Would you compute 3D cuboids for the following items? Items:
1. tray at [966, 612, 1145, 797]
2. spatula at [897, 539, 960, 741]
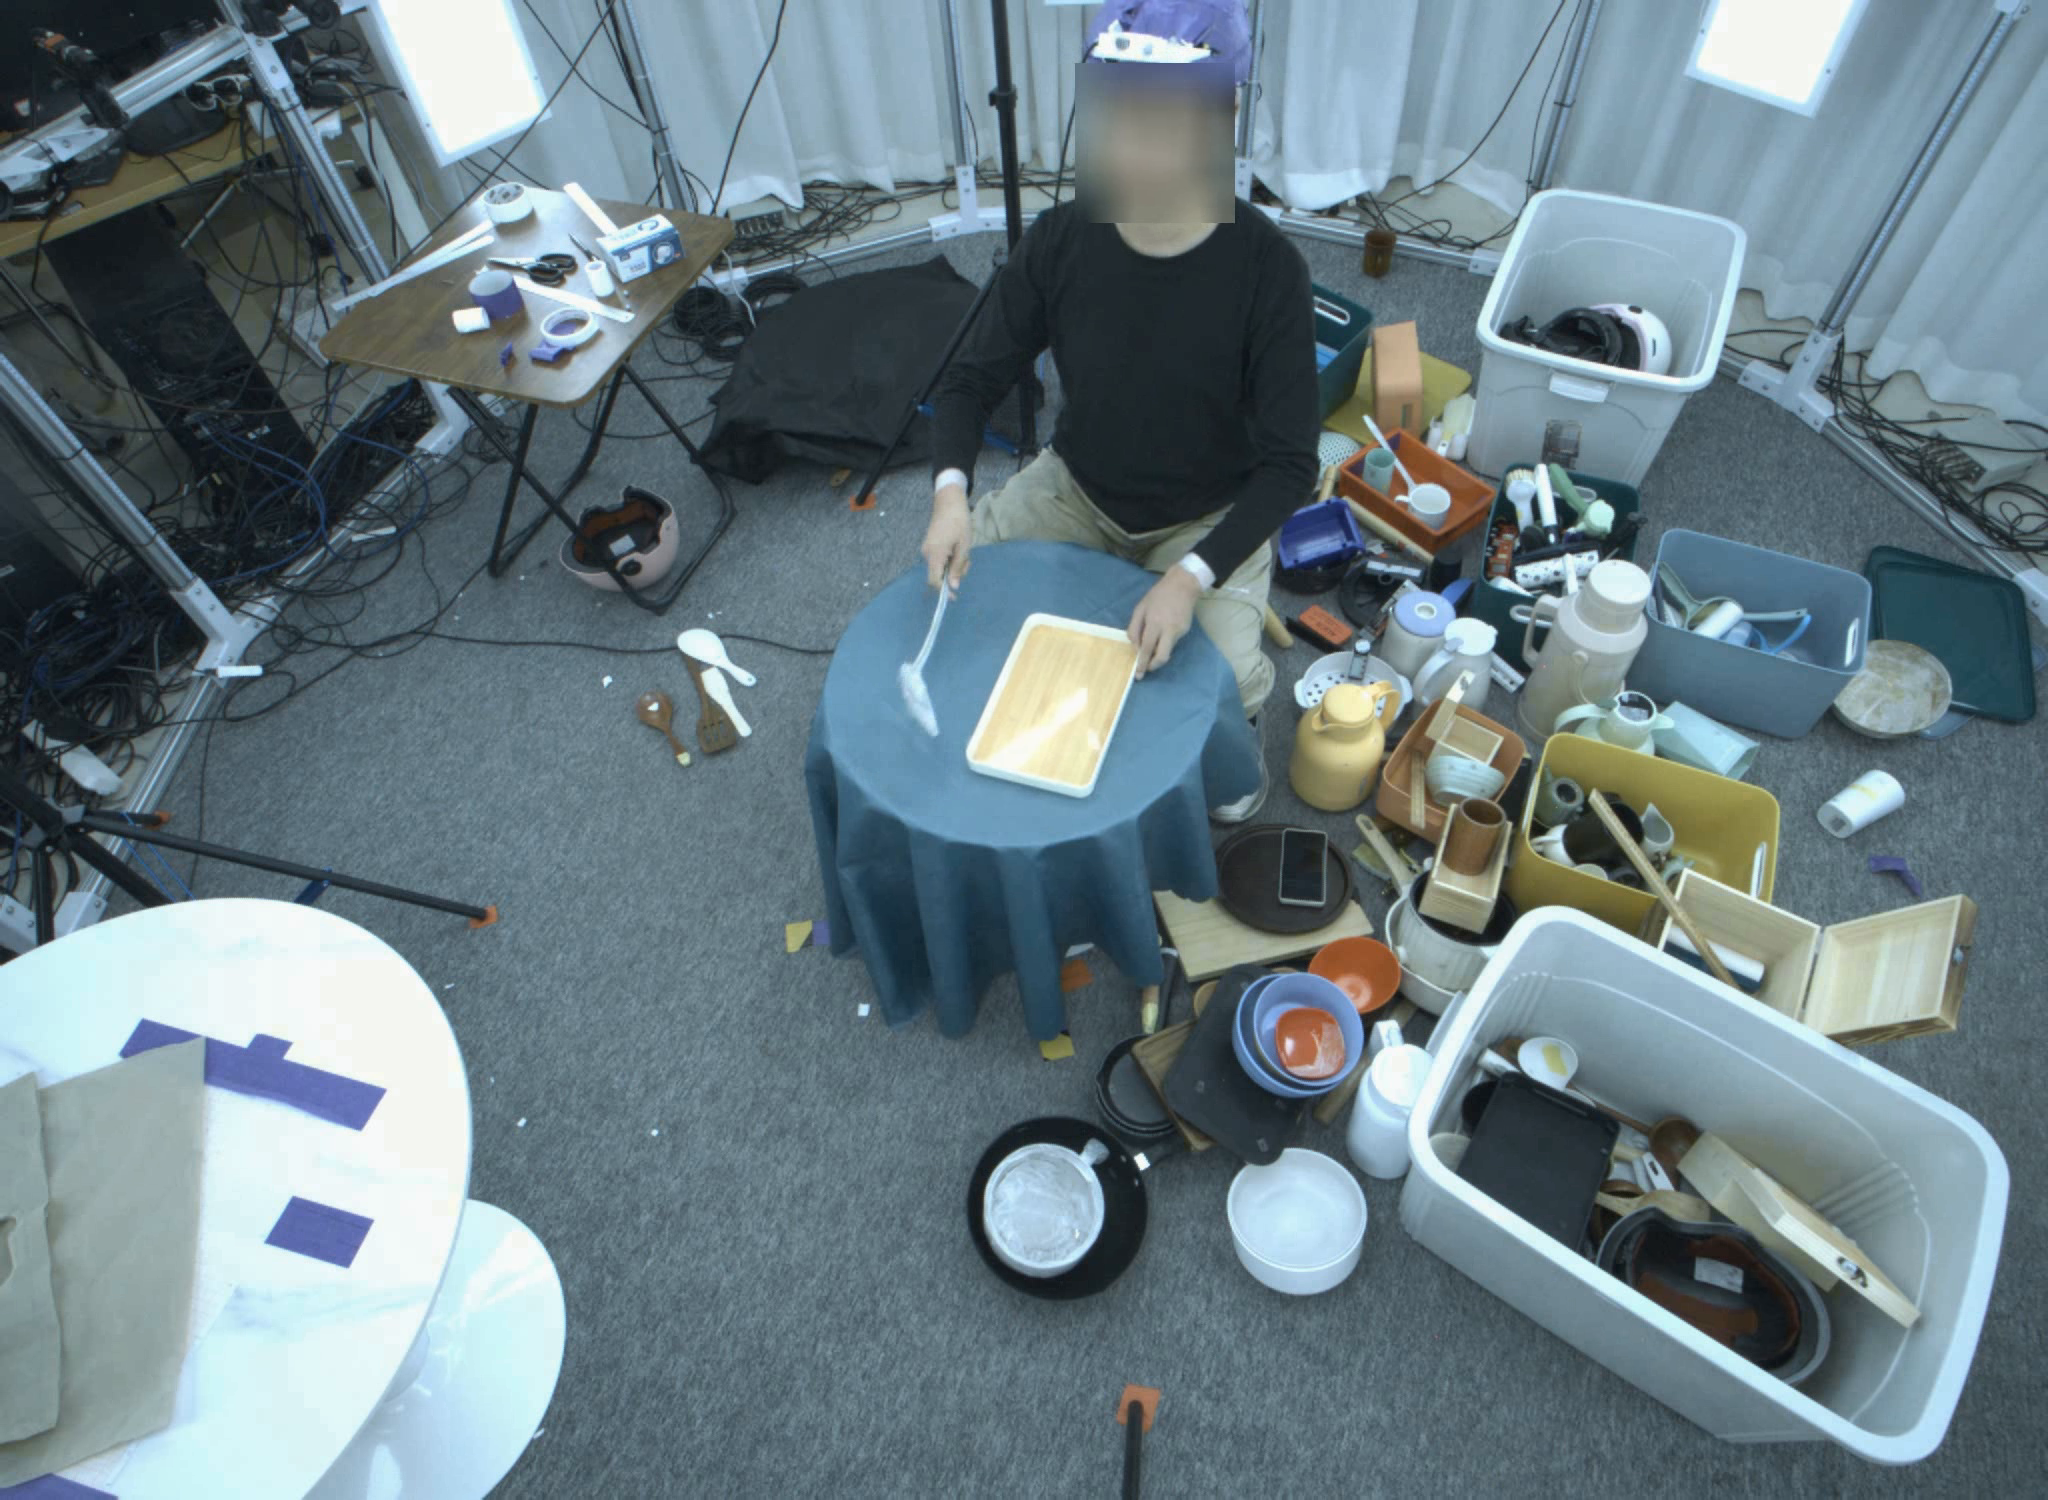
[{"bbox_3d":[0.051,-0.073,1.821,0.190,0.028,0.300,15,57,12],"label":"tray"},{"bbox_3d":[-0.127,-0.180,1.787,0.044,0.101,0.363,-5,56,30],"label":"spatula"}]
